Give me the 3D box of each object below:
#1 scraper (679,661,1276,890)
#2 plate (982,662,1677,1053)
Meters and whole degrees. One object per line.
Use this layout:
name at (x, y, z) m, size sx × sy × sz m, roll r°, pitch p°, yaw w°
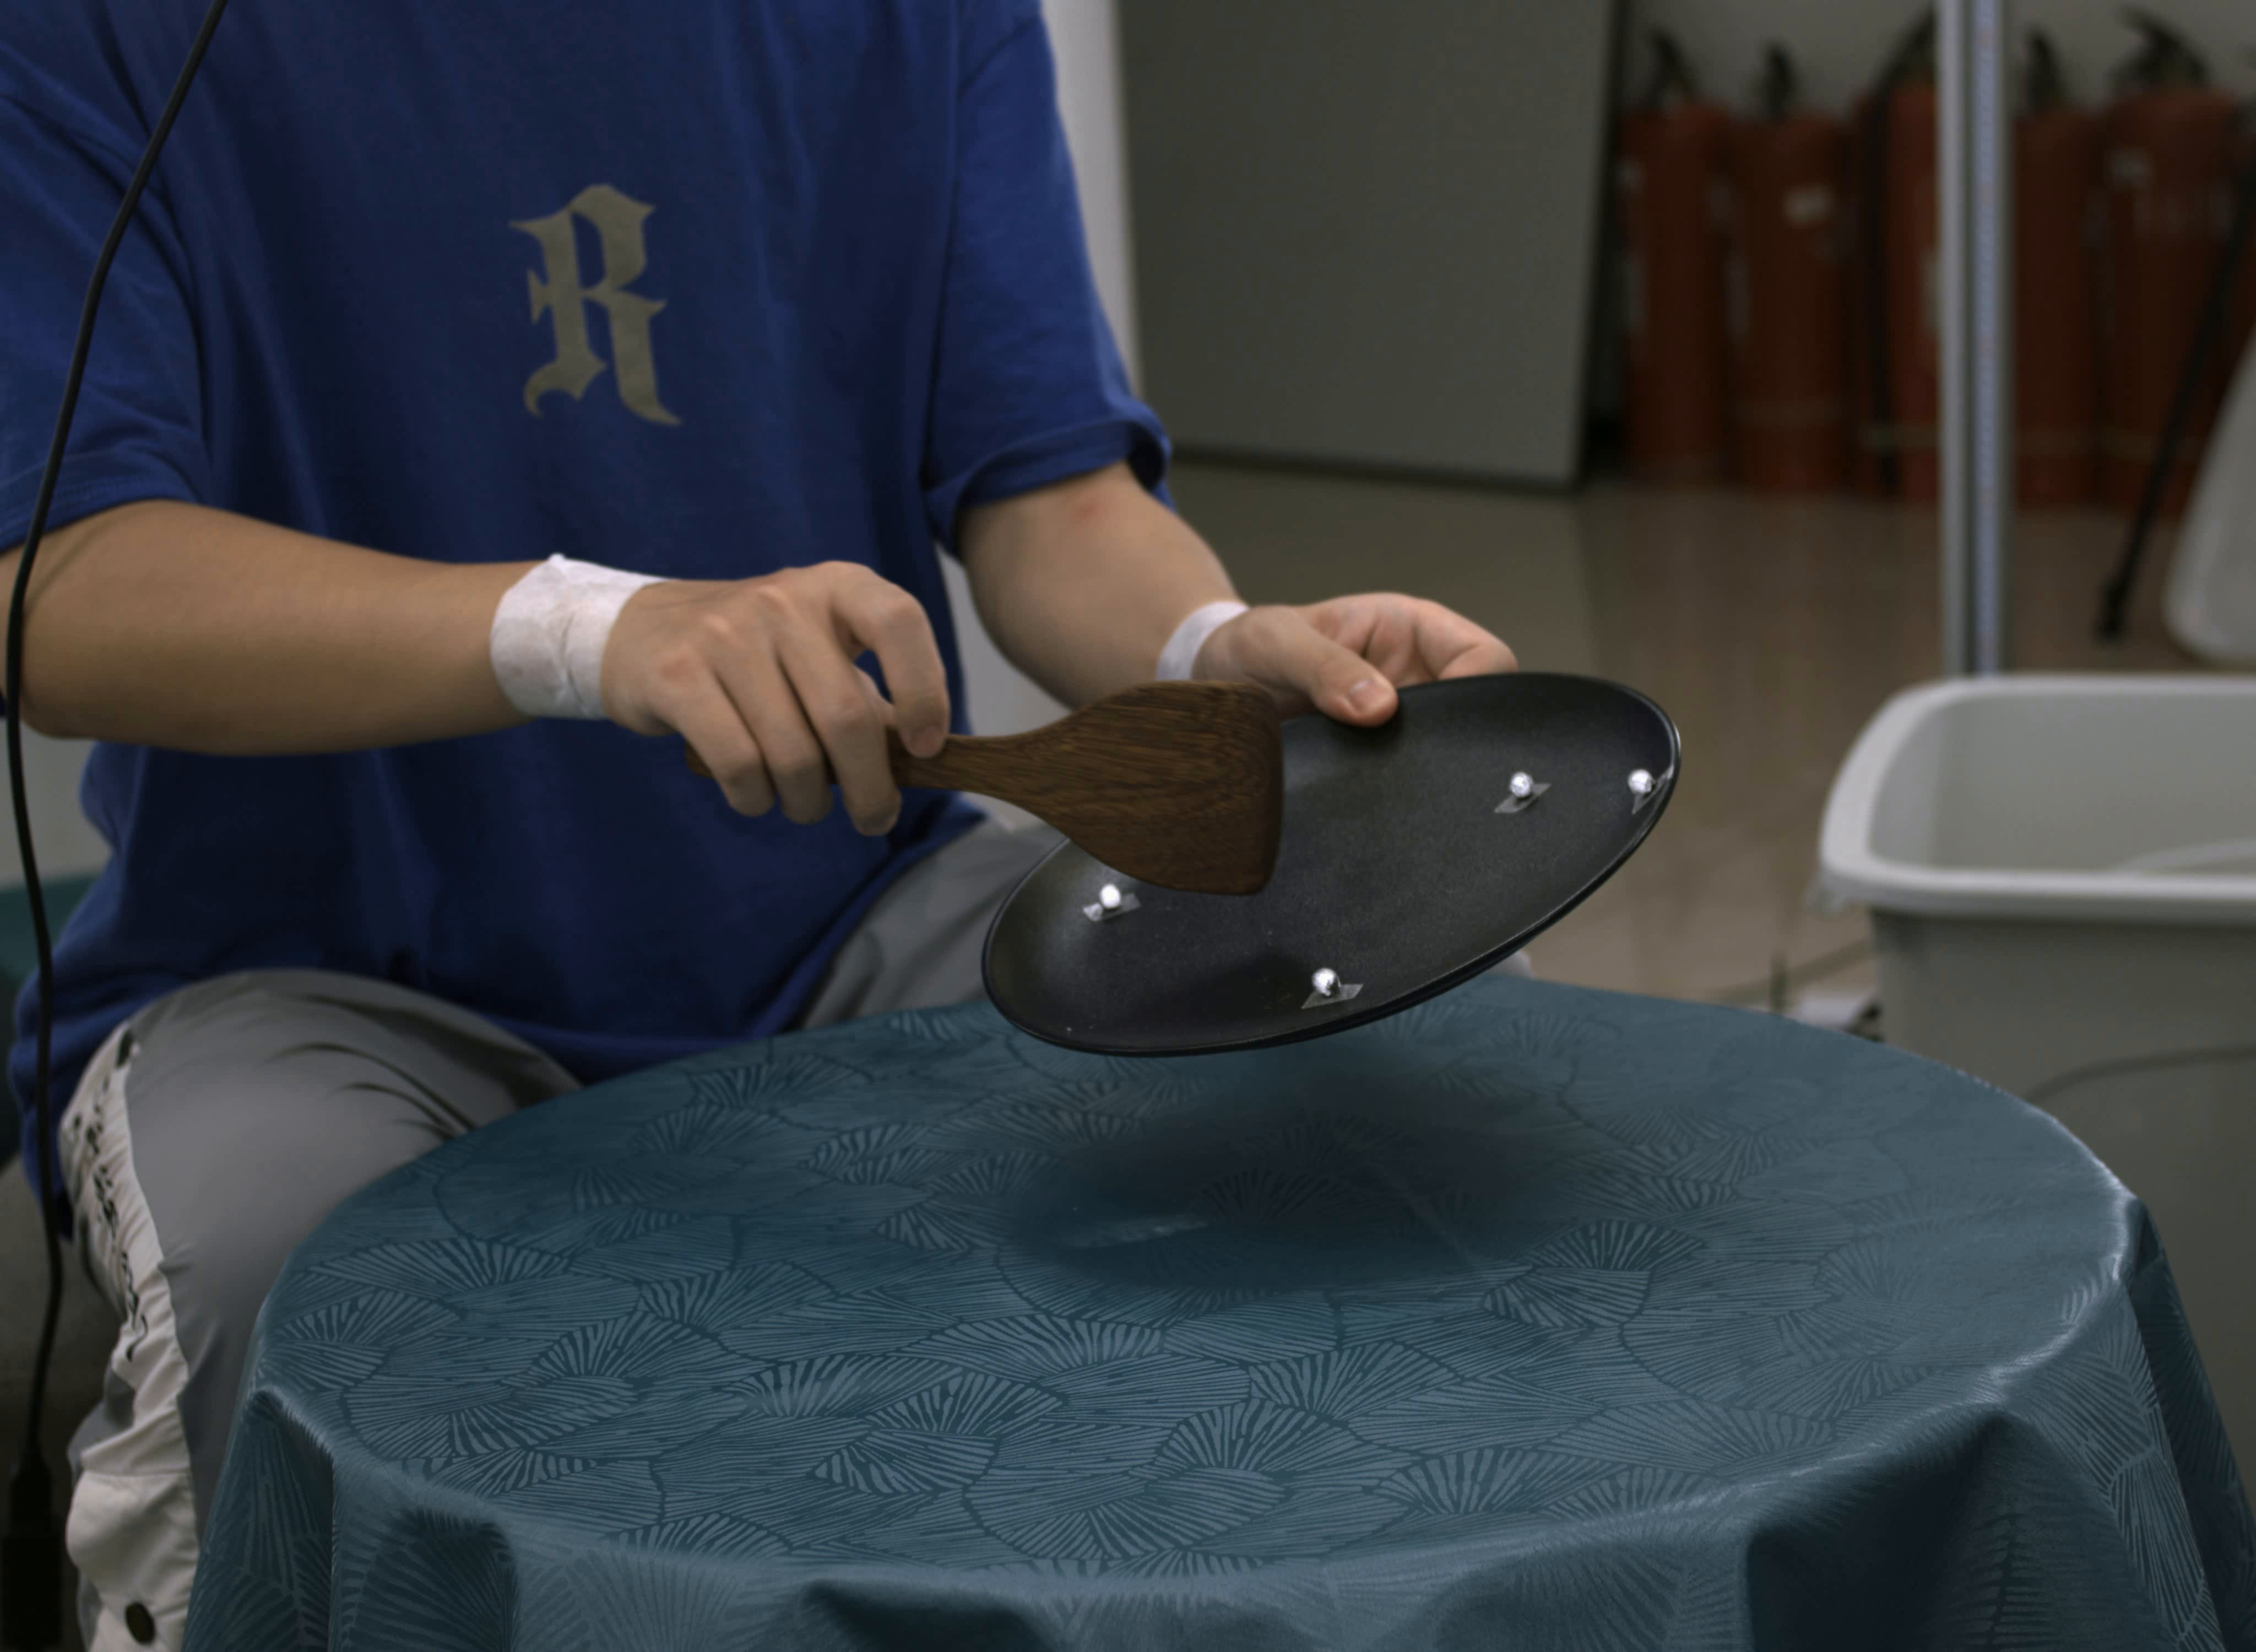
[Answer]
scraper at (-0.052, -0.021, 1.768) m, size 0.211 × 0.076 × 0.011 m, roll 4°, pitch 19°, yaw 21°
plate at (0.067, 0.016, 1.765) m, size 0.243 × 0.023 × 0.245 m, roll -20°, pitch 22°, yaw 7°
